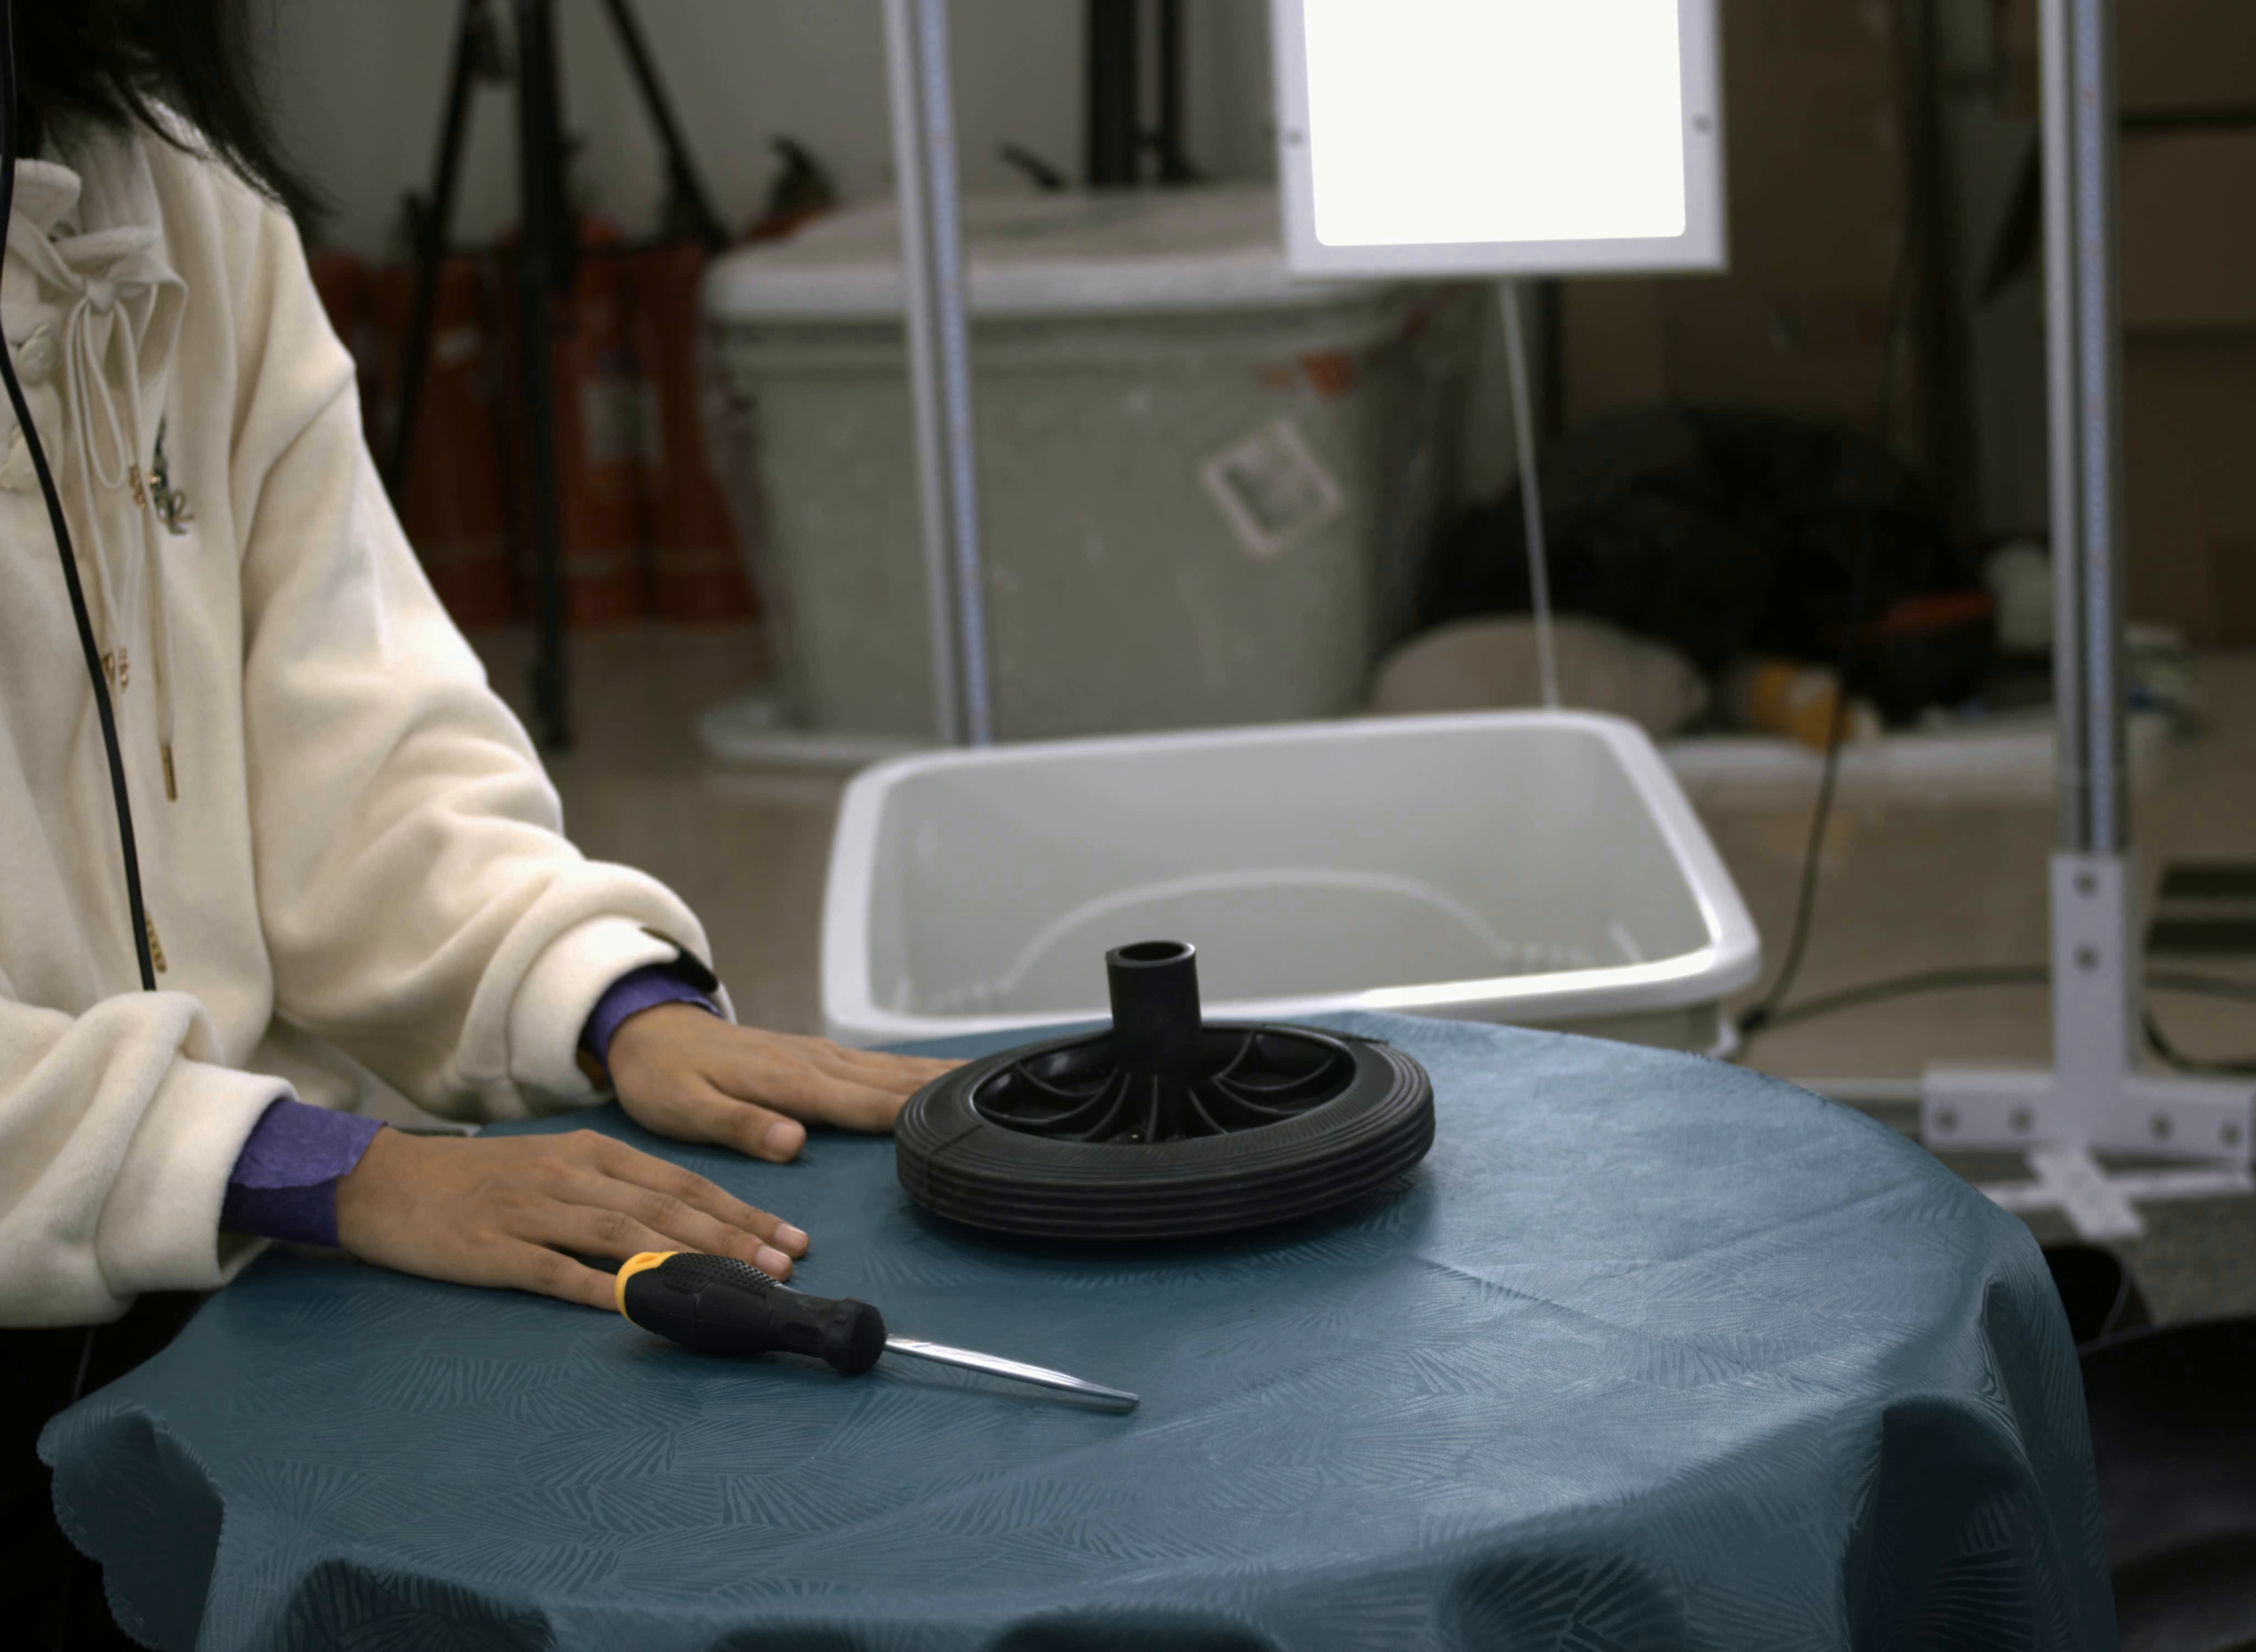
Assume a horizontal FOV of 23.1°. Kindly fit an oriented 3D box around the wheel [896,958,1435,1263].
[{"bbox_3d":[0.011,0.088,1.897,0.188,0.079,0.188,-3,17,8],"label":"wheel"}]

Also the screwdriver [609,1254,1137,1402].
[{"bbox_3d":[-0.083,0.162,1.734,0.202,0.031,0.031,9,19,36],"label":"screwdriver"}]
